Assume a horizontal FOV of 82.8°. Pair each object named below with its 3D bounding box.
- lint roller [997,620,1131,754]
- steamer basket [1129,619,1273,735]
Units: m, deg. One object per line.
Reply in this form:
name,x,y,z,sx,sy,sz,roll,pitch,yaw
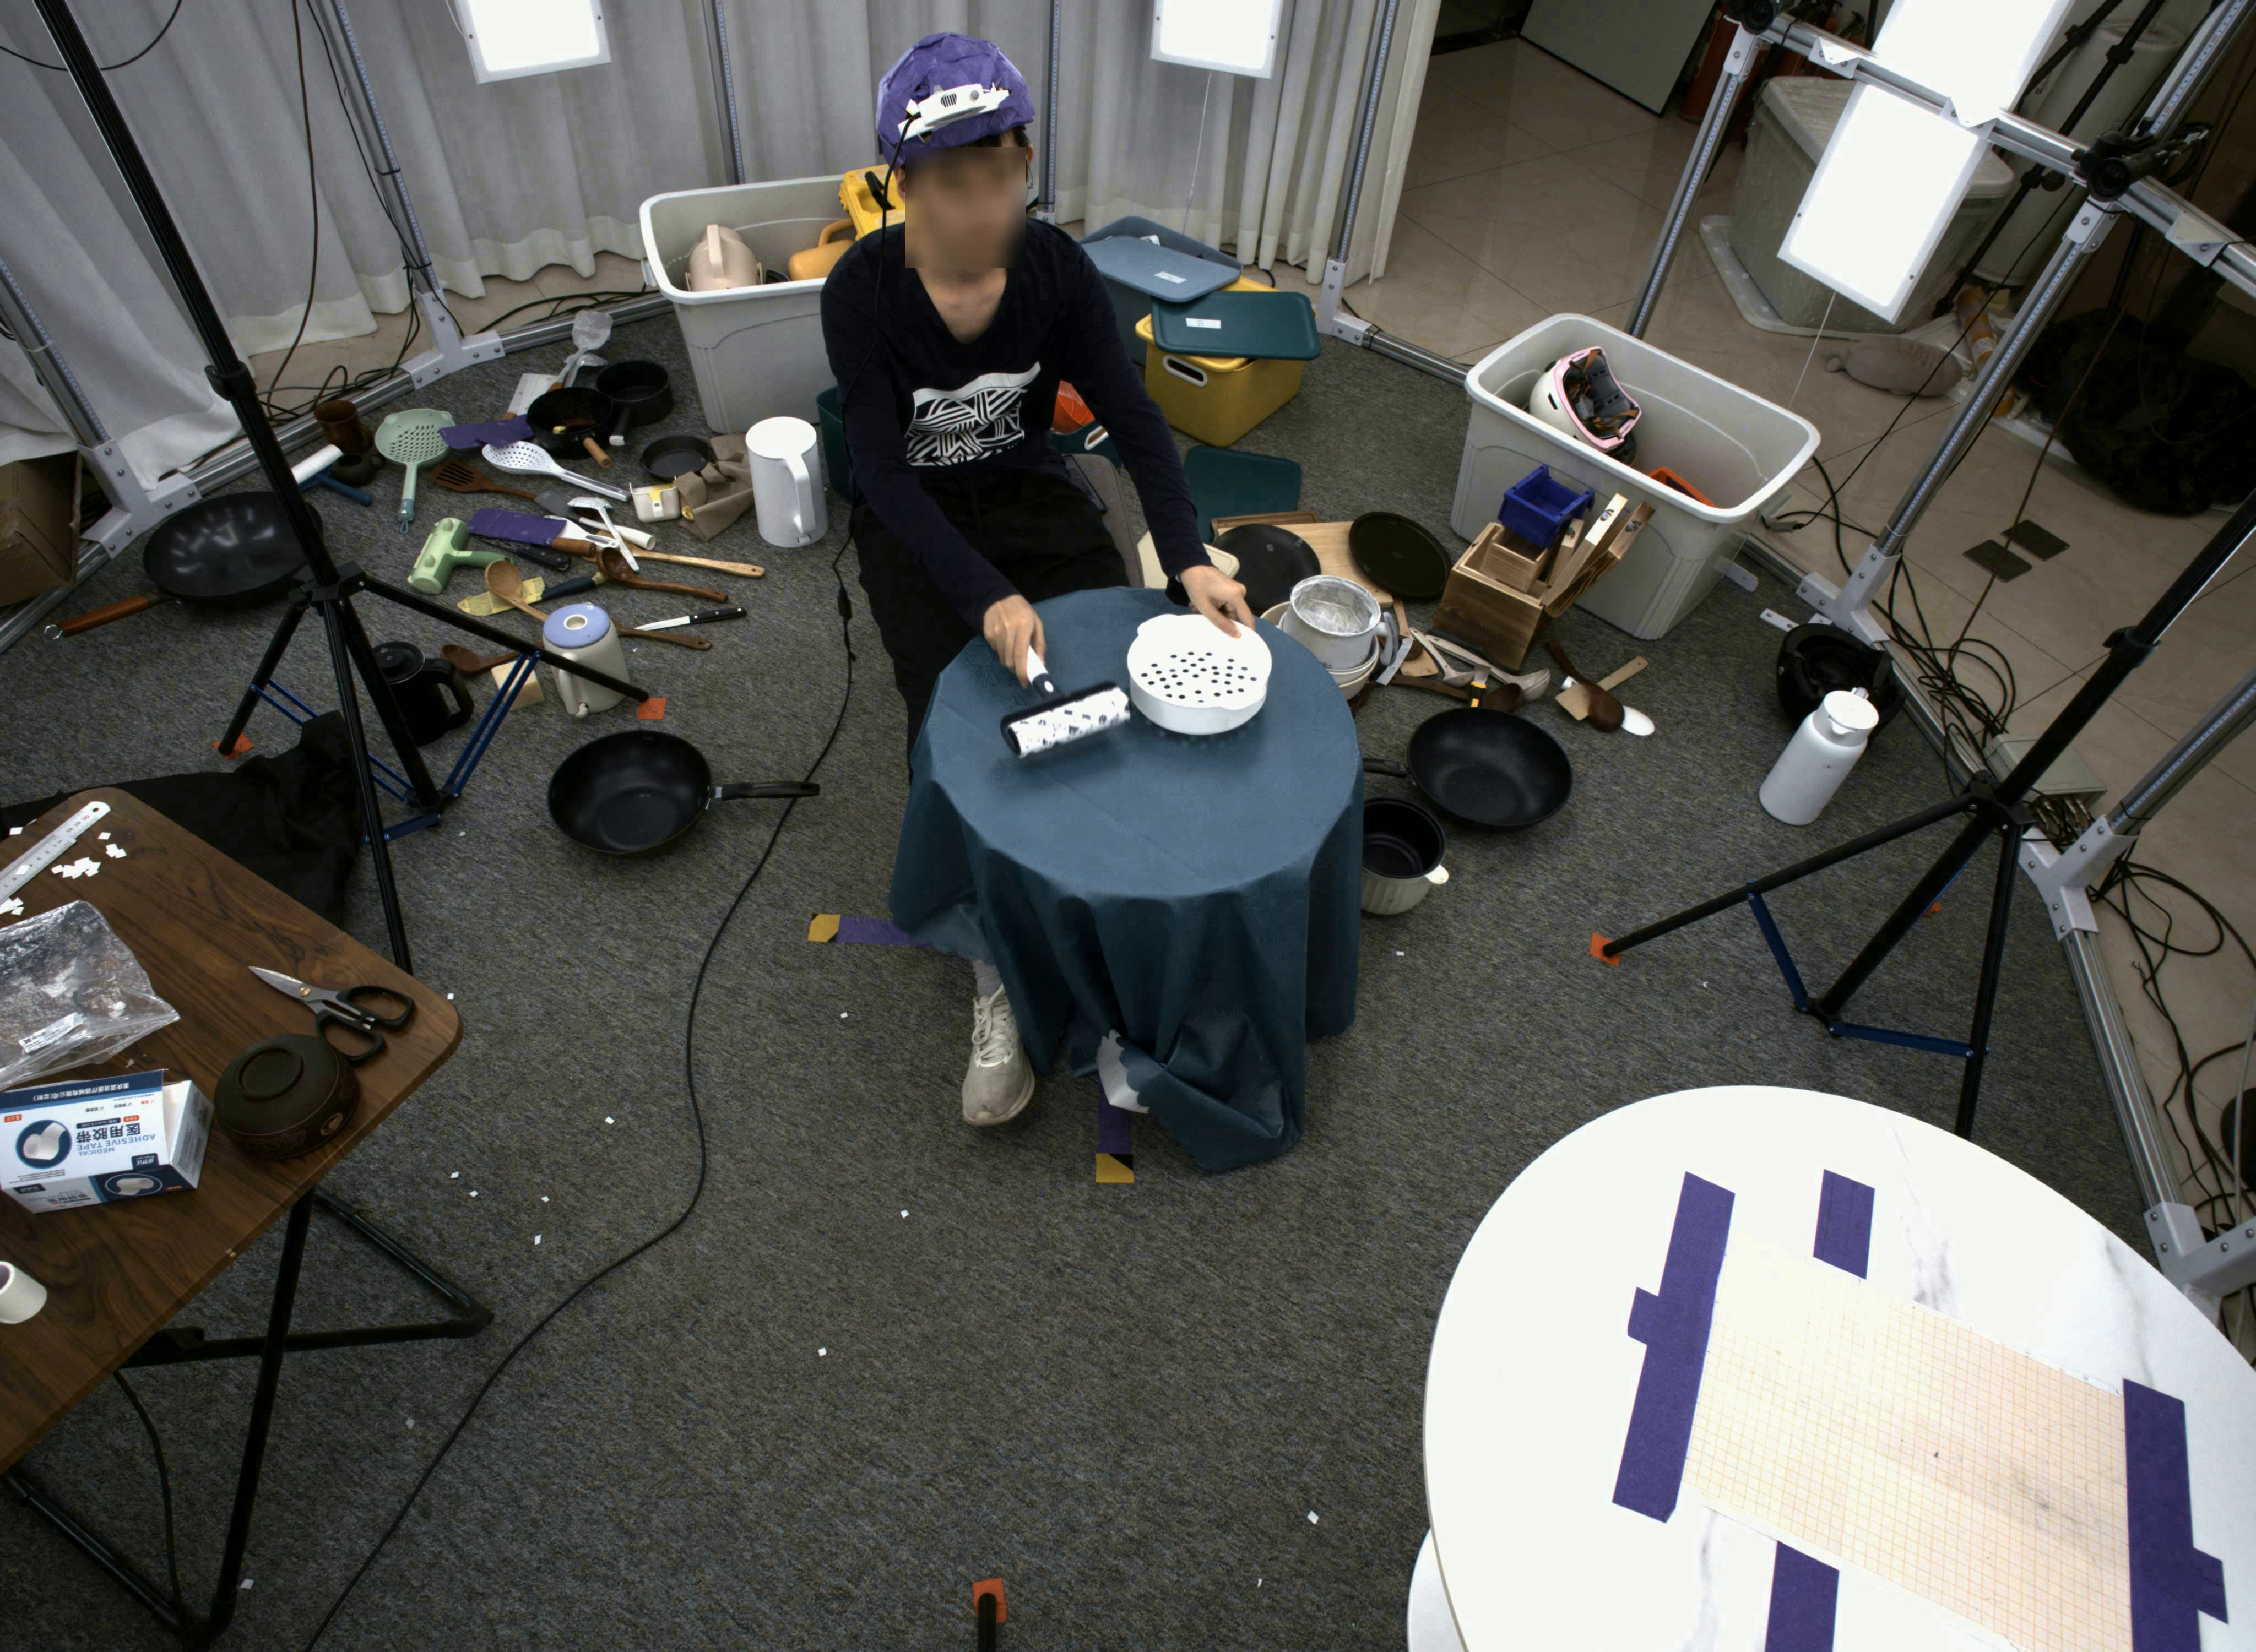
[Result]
lint roller,-0.127,-0.213,1.772,0.177,0.049,0.252,-23,52,-16
steamer basket,0.103,-0.209,1.806,0.203,0.067,0.235,-26,46,-22
